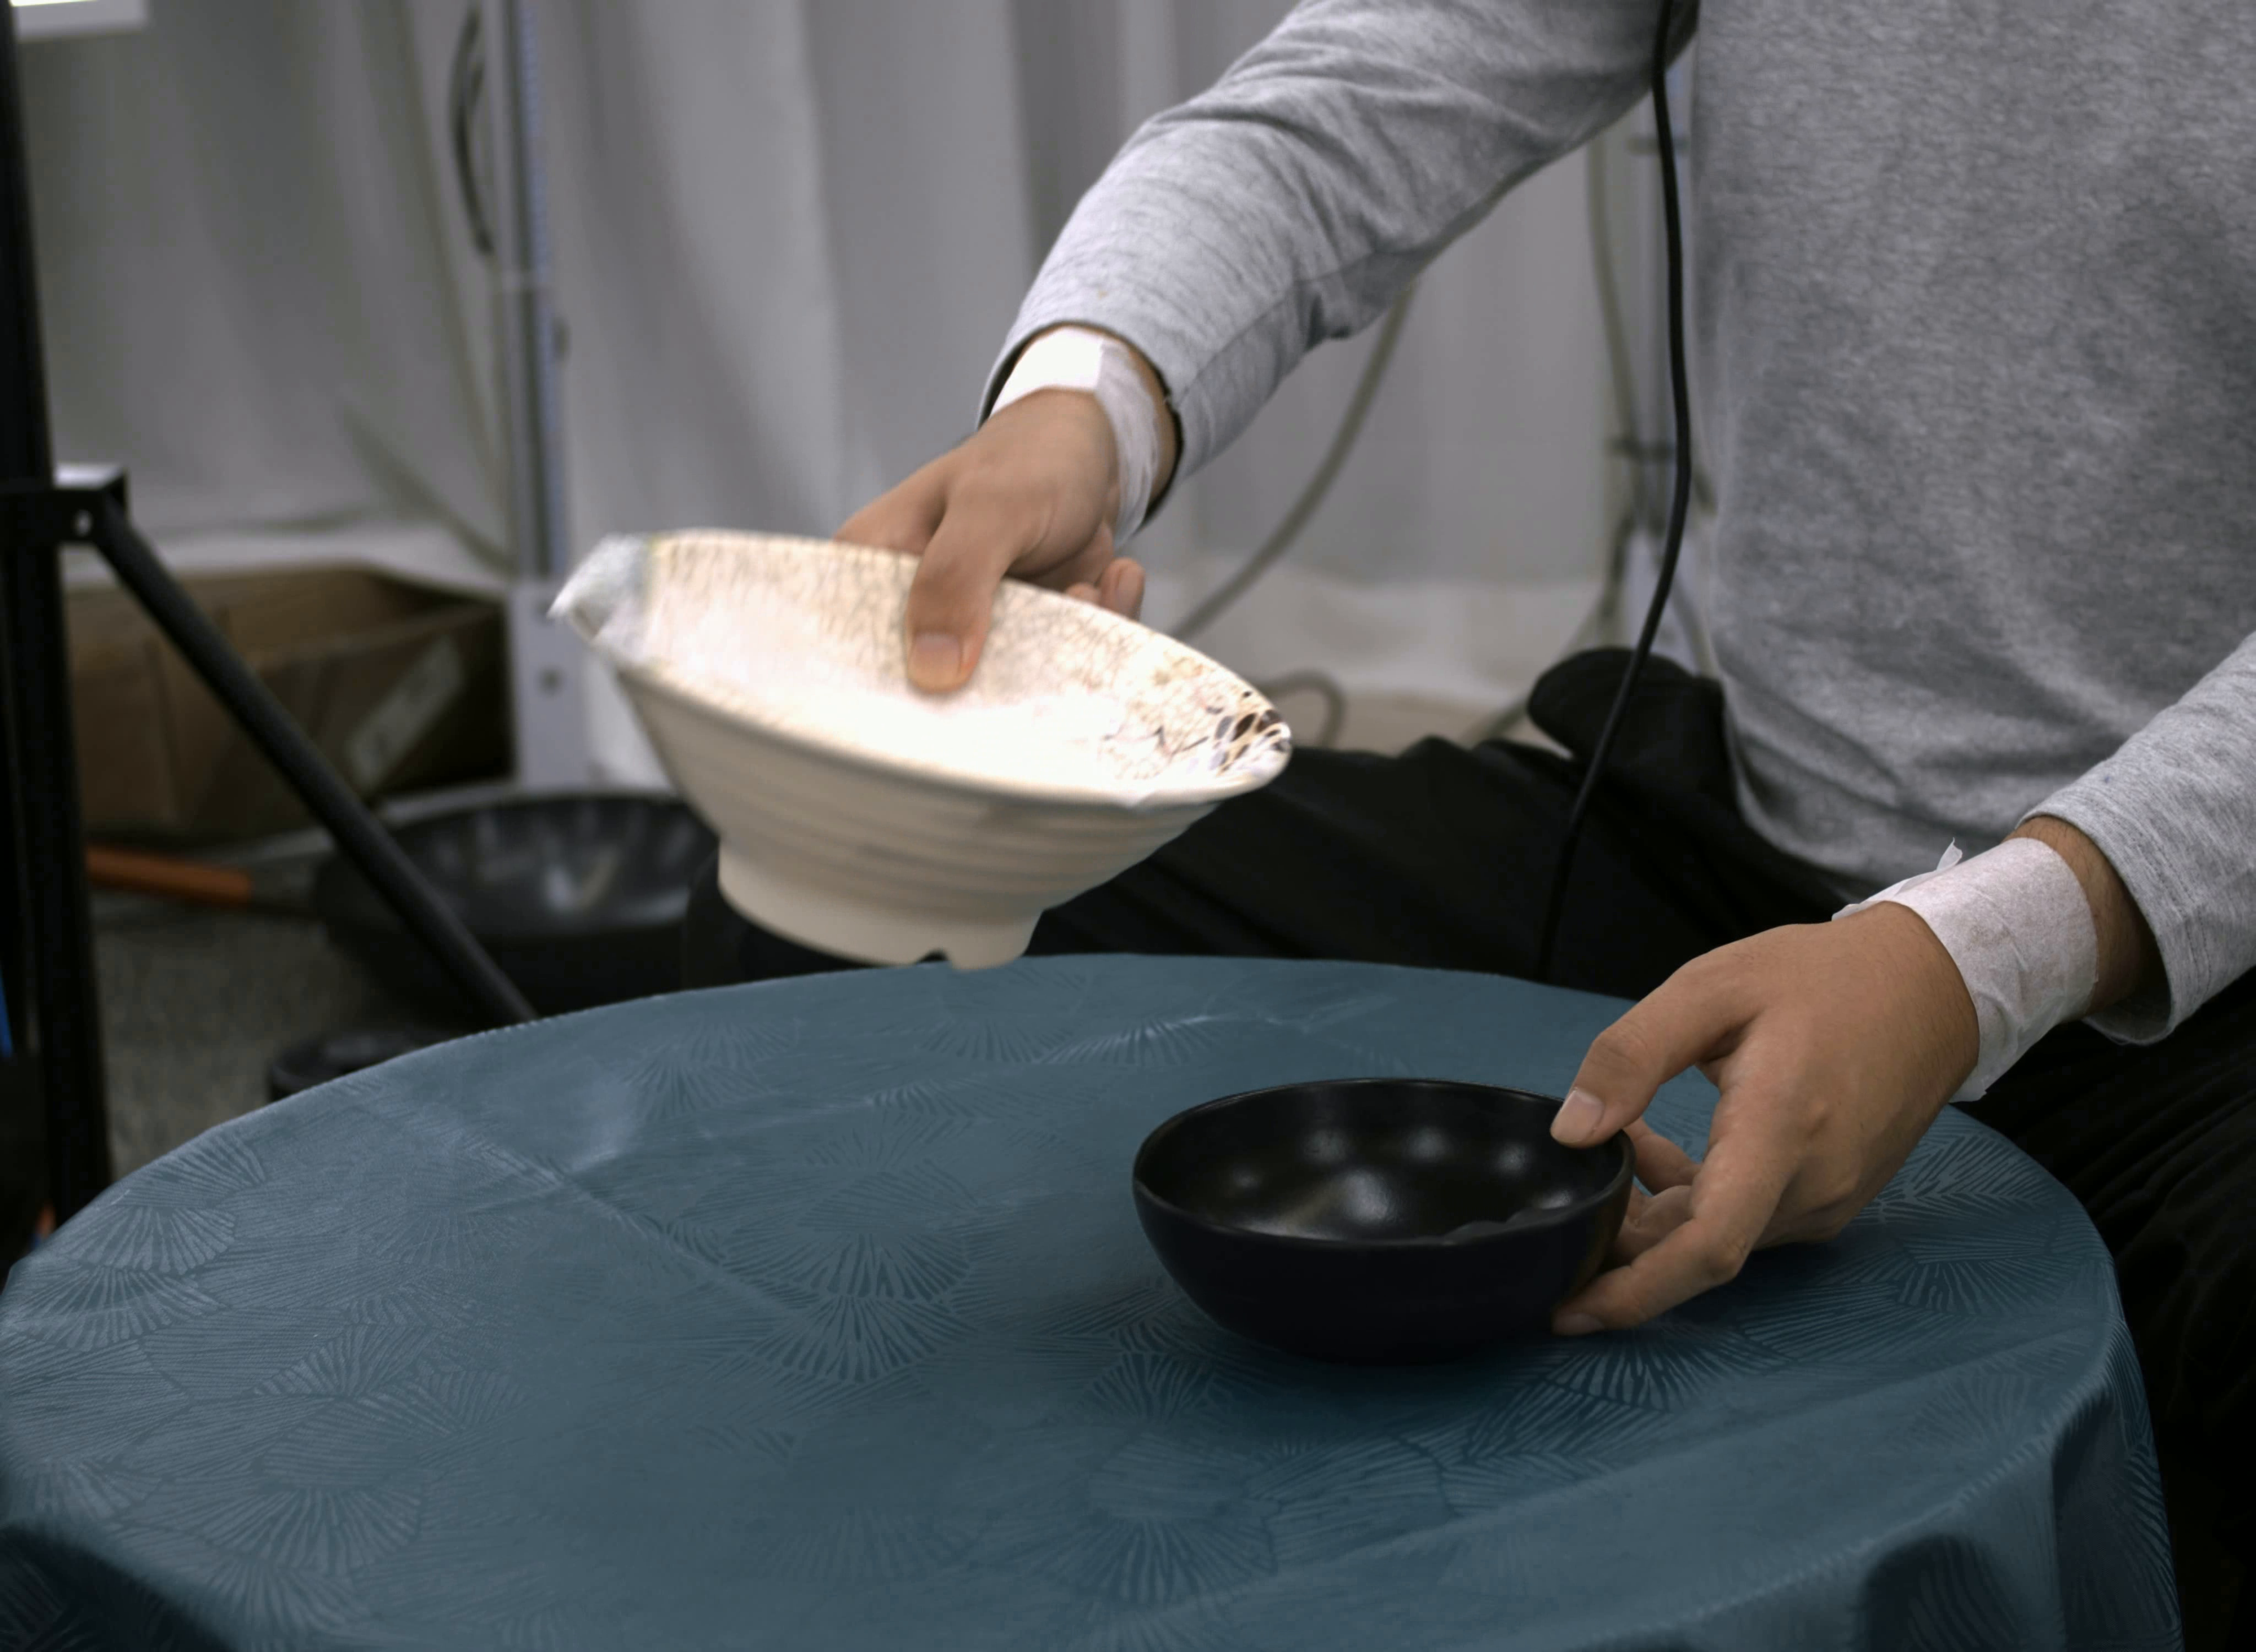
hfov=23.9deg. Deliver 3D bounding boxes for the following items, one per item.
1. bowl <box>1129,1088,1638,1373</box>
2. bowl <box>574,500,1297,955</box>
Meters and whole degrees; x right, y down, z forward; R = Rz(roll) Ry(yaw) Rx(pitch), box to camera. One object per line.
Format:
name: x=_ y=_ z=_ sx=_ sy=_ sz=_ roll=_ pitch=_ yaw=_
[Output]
bowl: x=0.069 y=0.115 z=1.445 sx=0.139 sy=0.050 sz=0.140 roll=1 pitch=14 yaw=-2
bowl: x=-0.061 y=-0.017 z=1.454 sx=0.202 sy=0.078 sz=0.205 roll=14 pitch=17 yaw=-6
